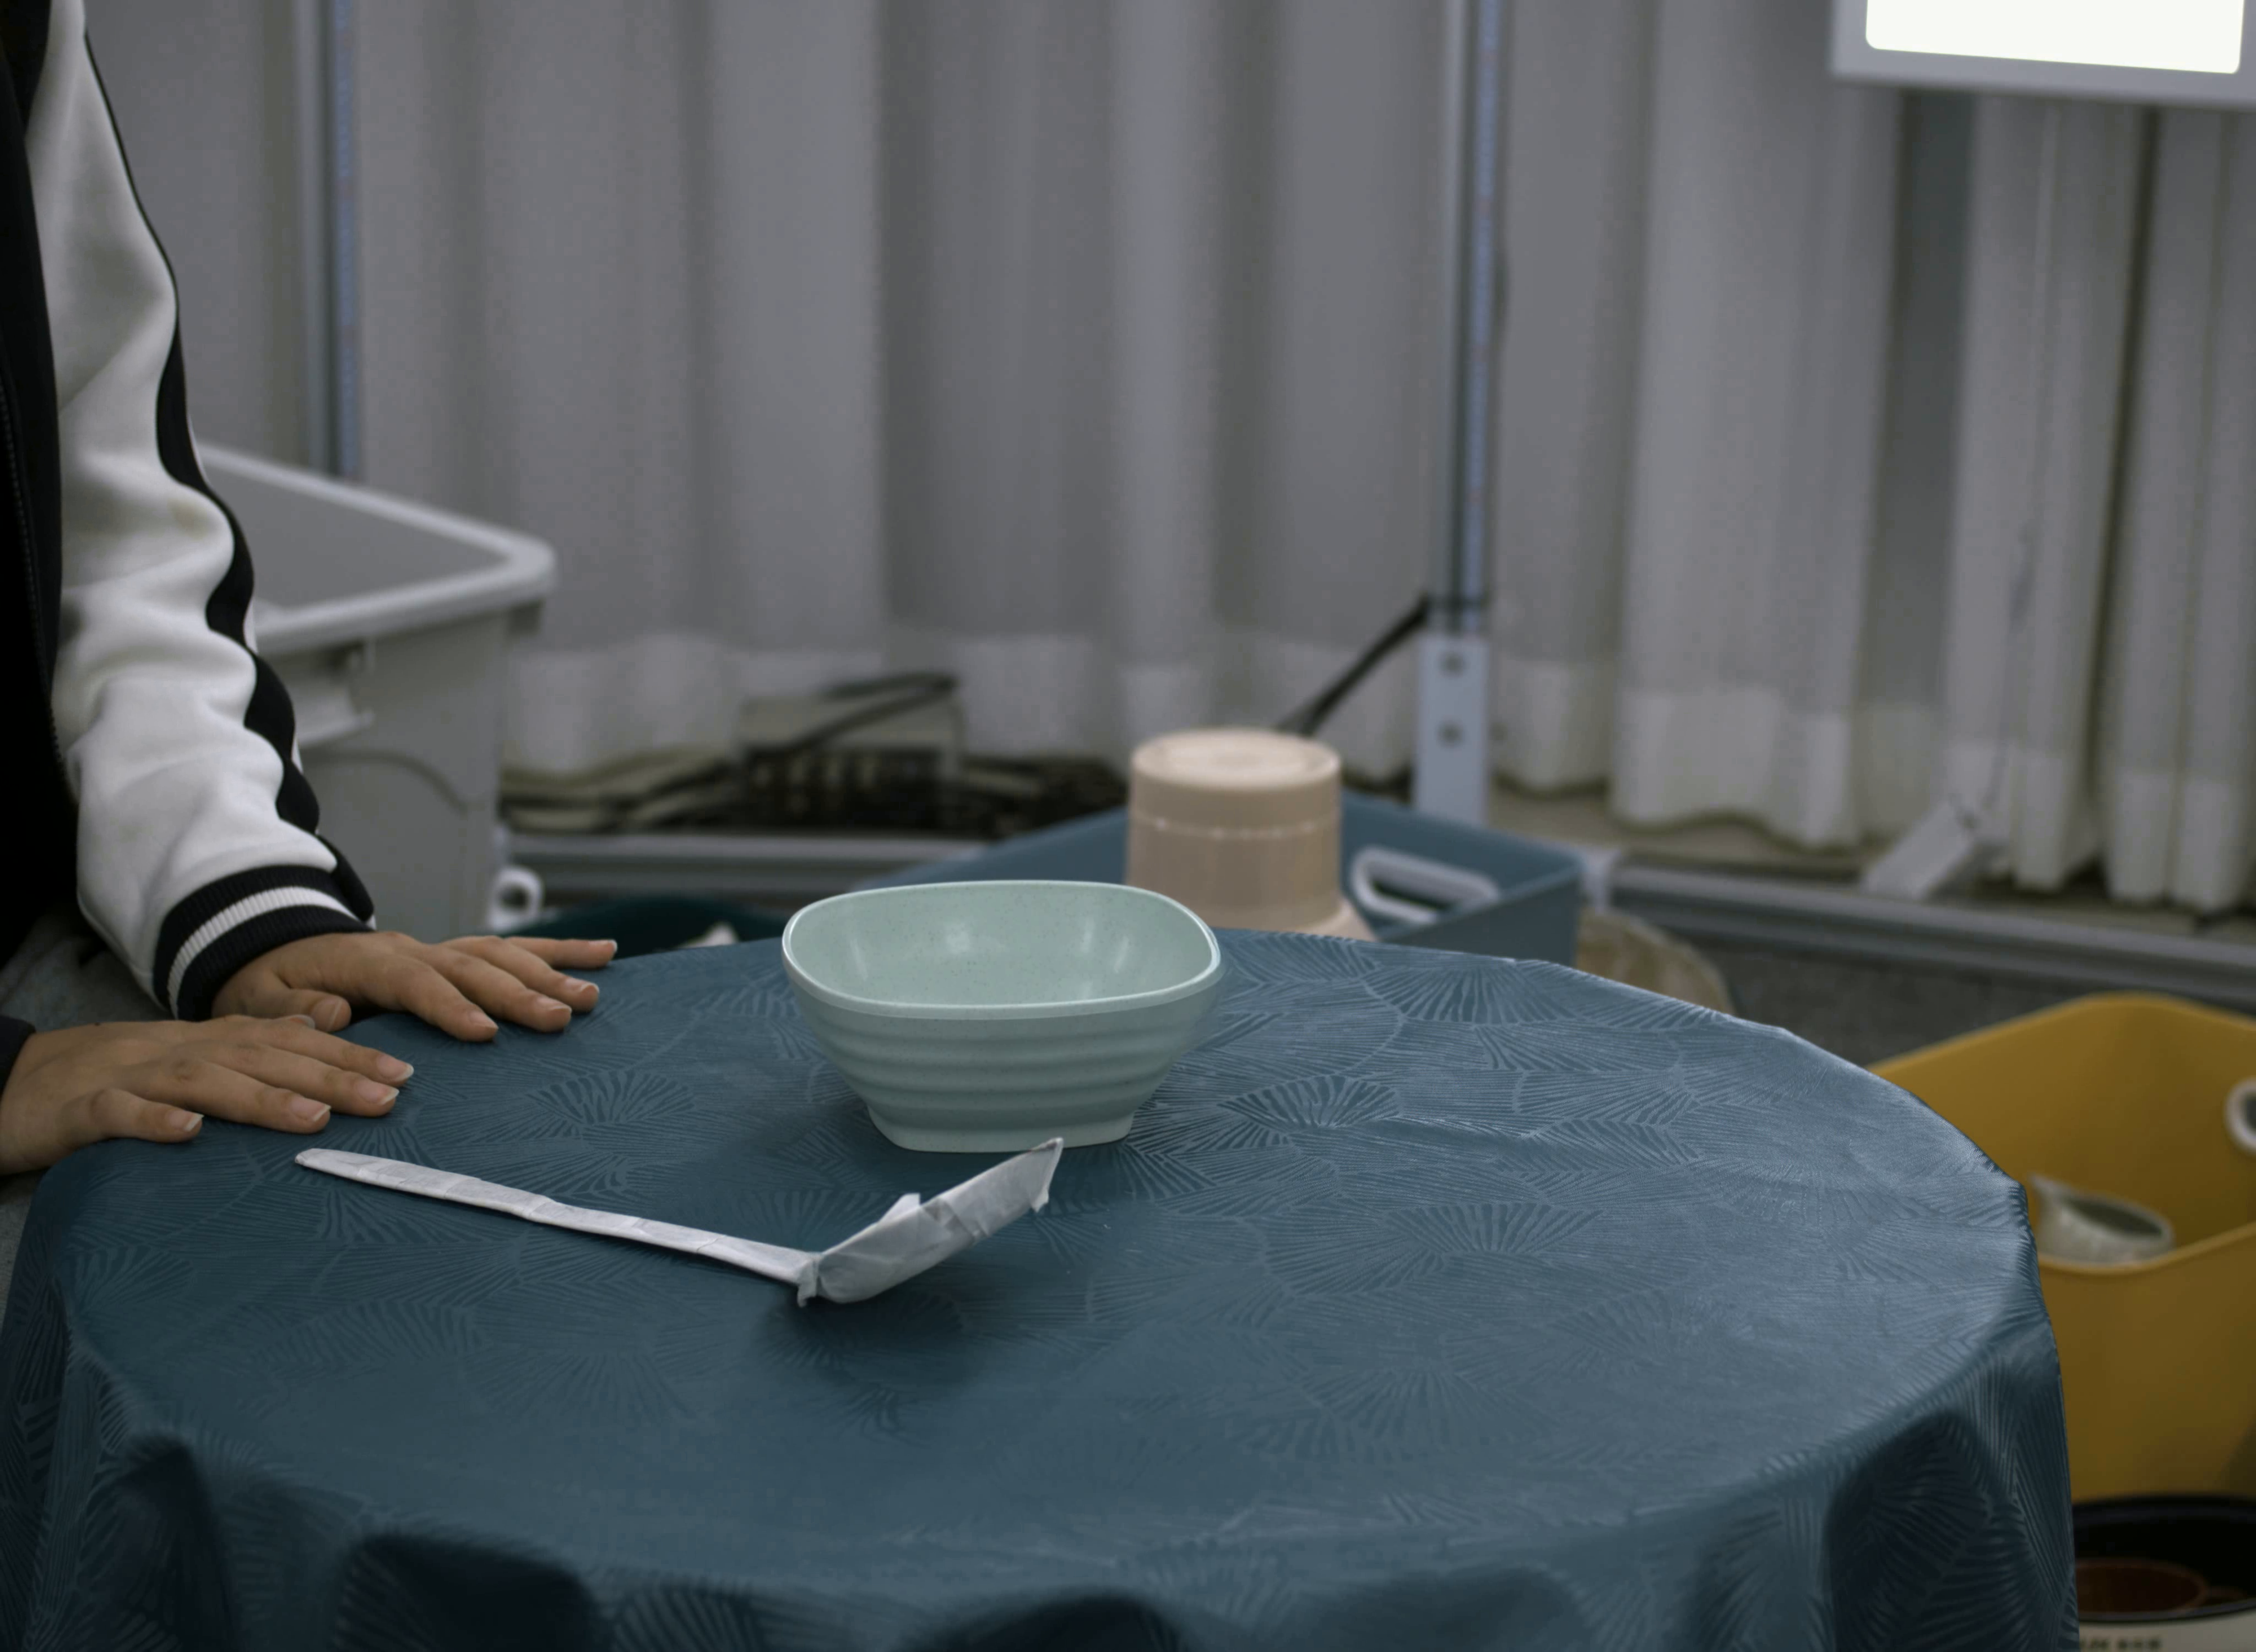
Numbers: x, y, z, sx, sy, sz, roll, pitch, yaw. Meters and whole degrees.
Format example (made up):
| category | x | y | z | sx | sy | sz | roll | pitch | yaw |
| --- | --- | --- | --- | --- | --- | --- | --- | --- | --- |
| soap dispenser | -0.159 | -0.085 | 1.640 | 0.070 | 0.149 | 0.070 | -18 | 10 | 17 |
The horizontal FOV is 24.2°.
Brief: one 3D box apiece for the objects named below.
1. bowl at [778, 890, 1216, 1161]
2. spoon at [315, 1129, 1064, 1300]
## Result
| category | x | y | z | sx | sy | sz | roll | pitch | yaw |
| --- | --- | --- | --- | --- | --- | --- | --- | --- | --- |
| bowl | -0.042 | 0.067 | 1.687 | 0.151 | 0.059 | 0.150 | 1 | 15 | 0 |
| spoon | -0.138 | 0.095 | 1.573 | 0.274 | 0.060 | 0.101 | 12 | 15 | 34 |
